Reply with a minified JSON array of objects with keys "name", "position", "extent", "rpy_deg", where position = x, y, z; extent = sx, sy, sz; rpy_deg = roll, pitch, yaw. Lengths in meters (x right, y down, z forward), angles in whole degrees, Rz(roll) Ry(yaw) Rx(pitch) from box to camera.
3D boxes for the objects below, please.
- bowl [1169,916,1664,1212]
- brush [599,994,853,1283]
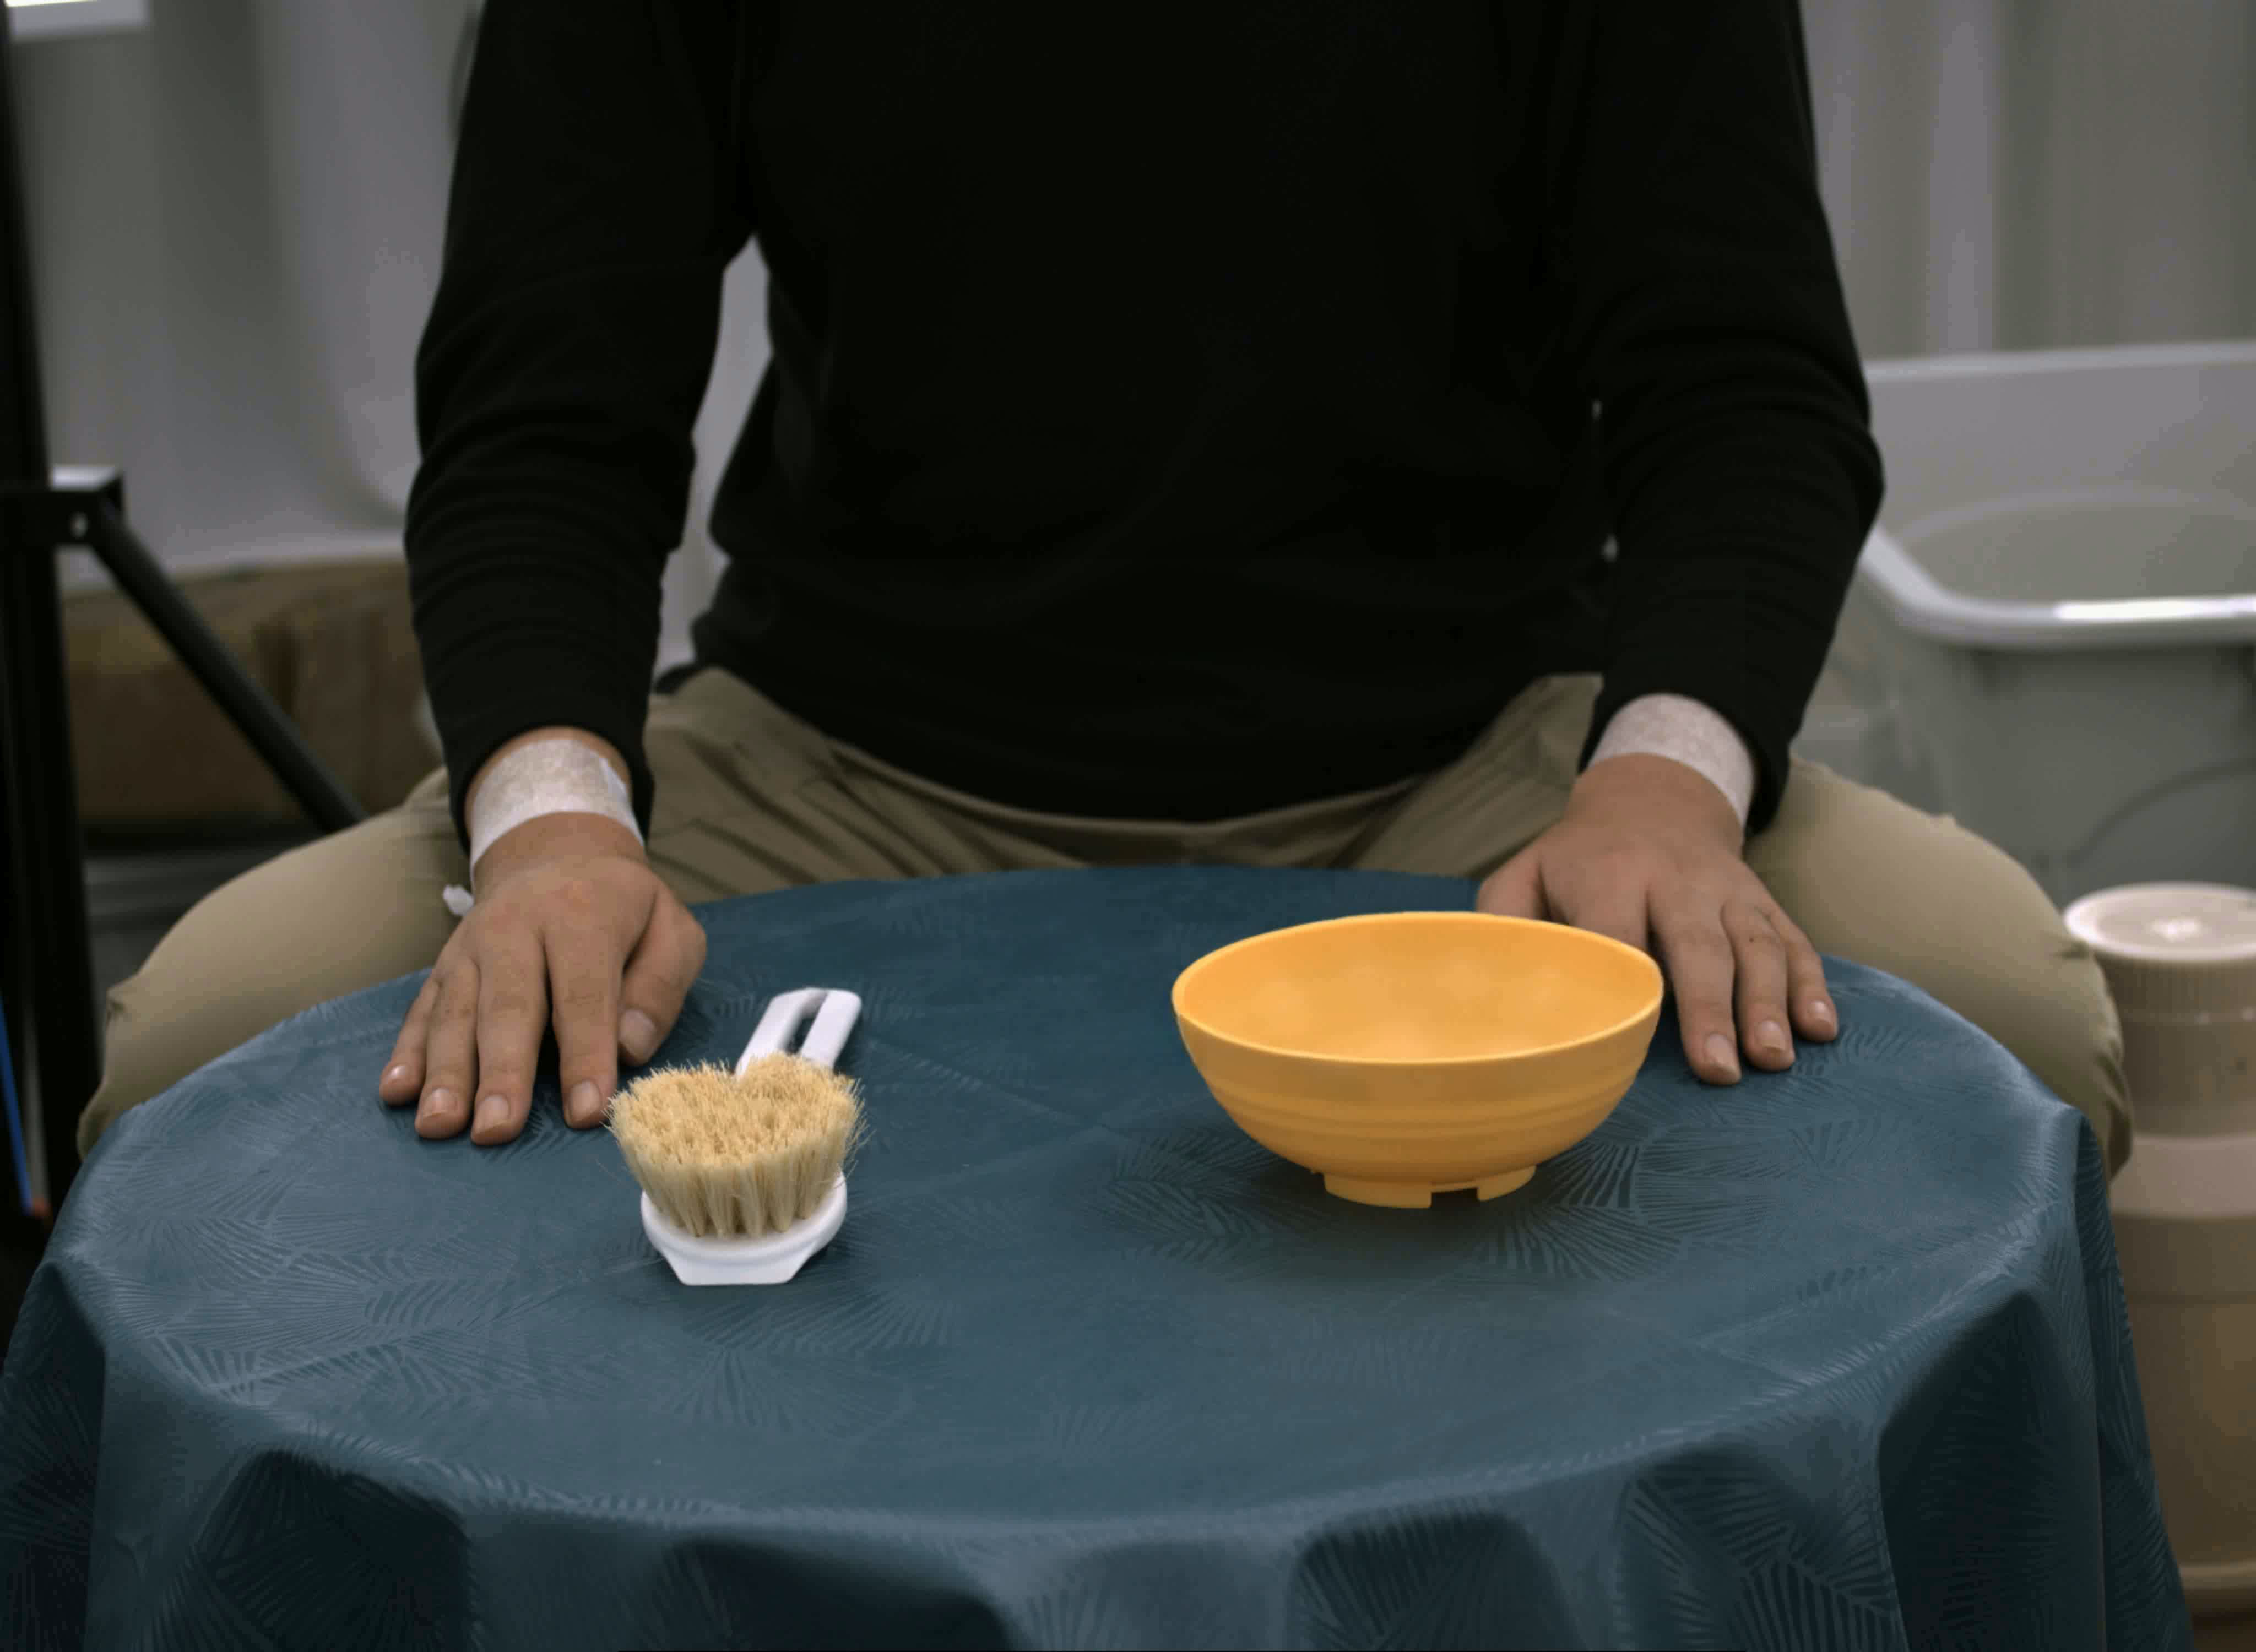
[{"name":"bowl","position":[0.084,0.075,1.555],"extent":[0.144,0.060,0.146],"rpy_deg":[-1,15,-1]},{"name":"brush","position":[-0.111,0.069,1.614],"extent":[0.068,0.056,0.266],"rpy_deg":[4,15,3]}]
